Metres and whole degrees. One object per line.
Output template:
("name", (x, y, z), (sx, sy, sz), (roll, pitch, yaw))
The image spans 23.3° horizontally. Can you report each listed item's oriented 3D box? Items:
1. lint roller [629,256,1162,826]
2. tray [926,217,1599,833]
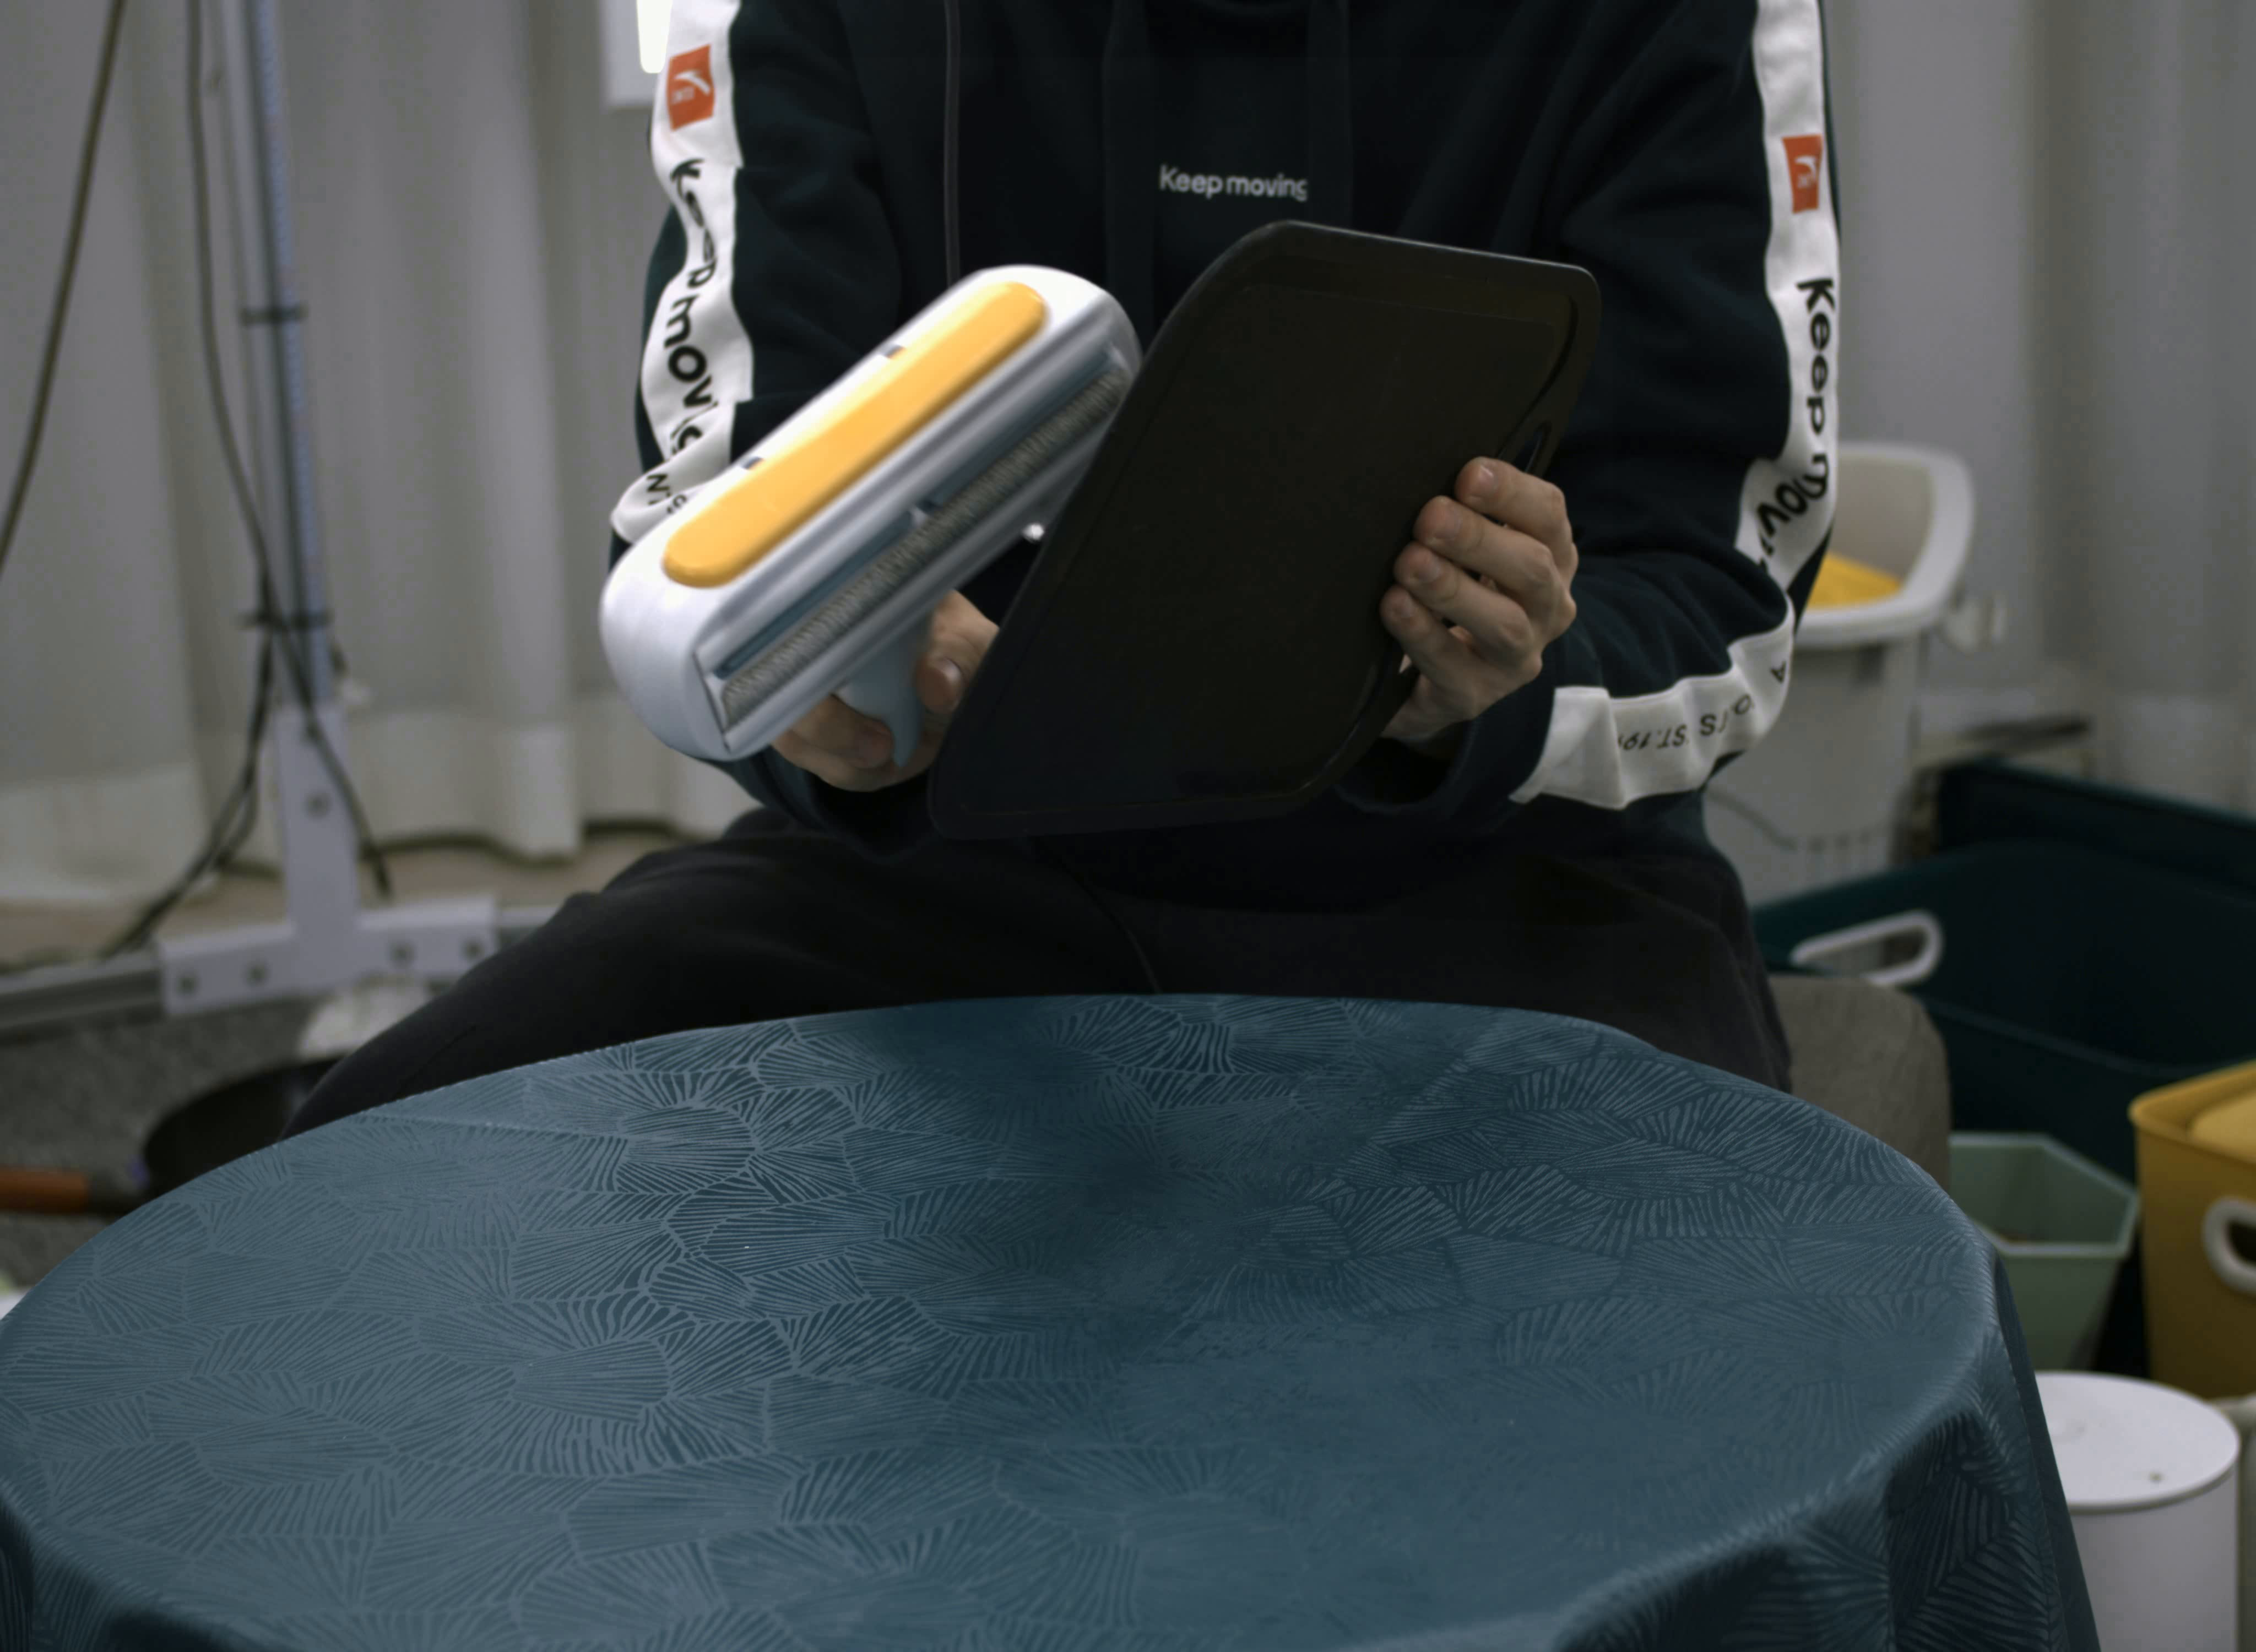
("lint roller", (-0.070, -0.063, 1.670), (0.075, 0.190, 0.194), (32, 57, 27))
("tray", (0.053, -0.088, 1.696), (0.010, 0.210, 0.324), (35, 15, 22))
